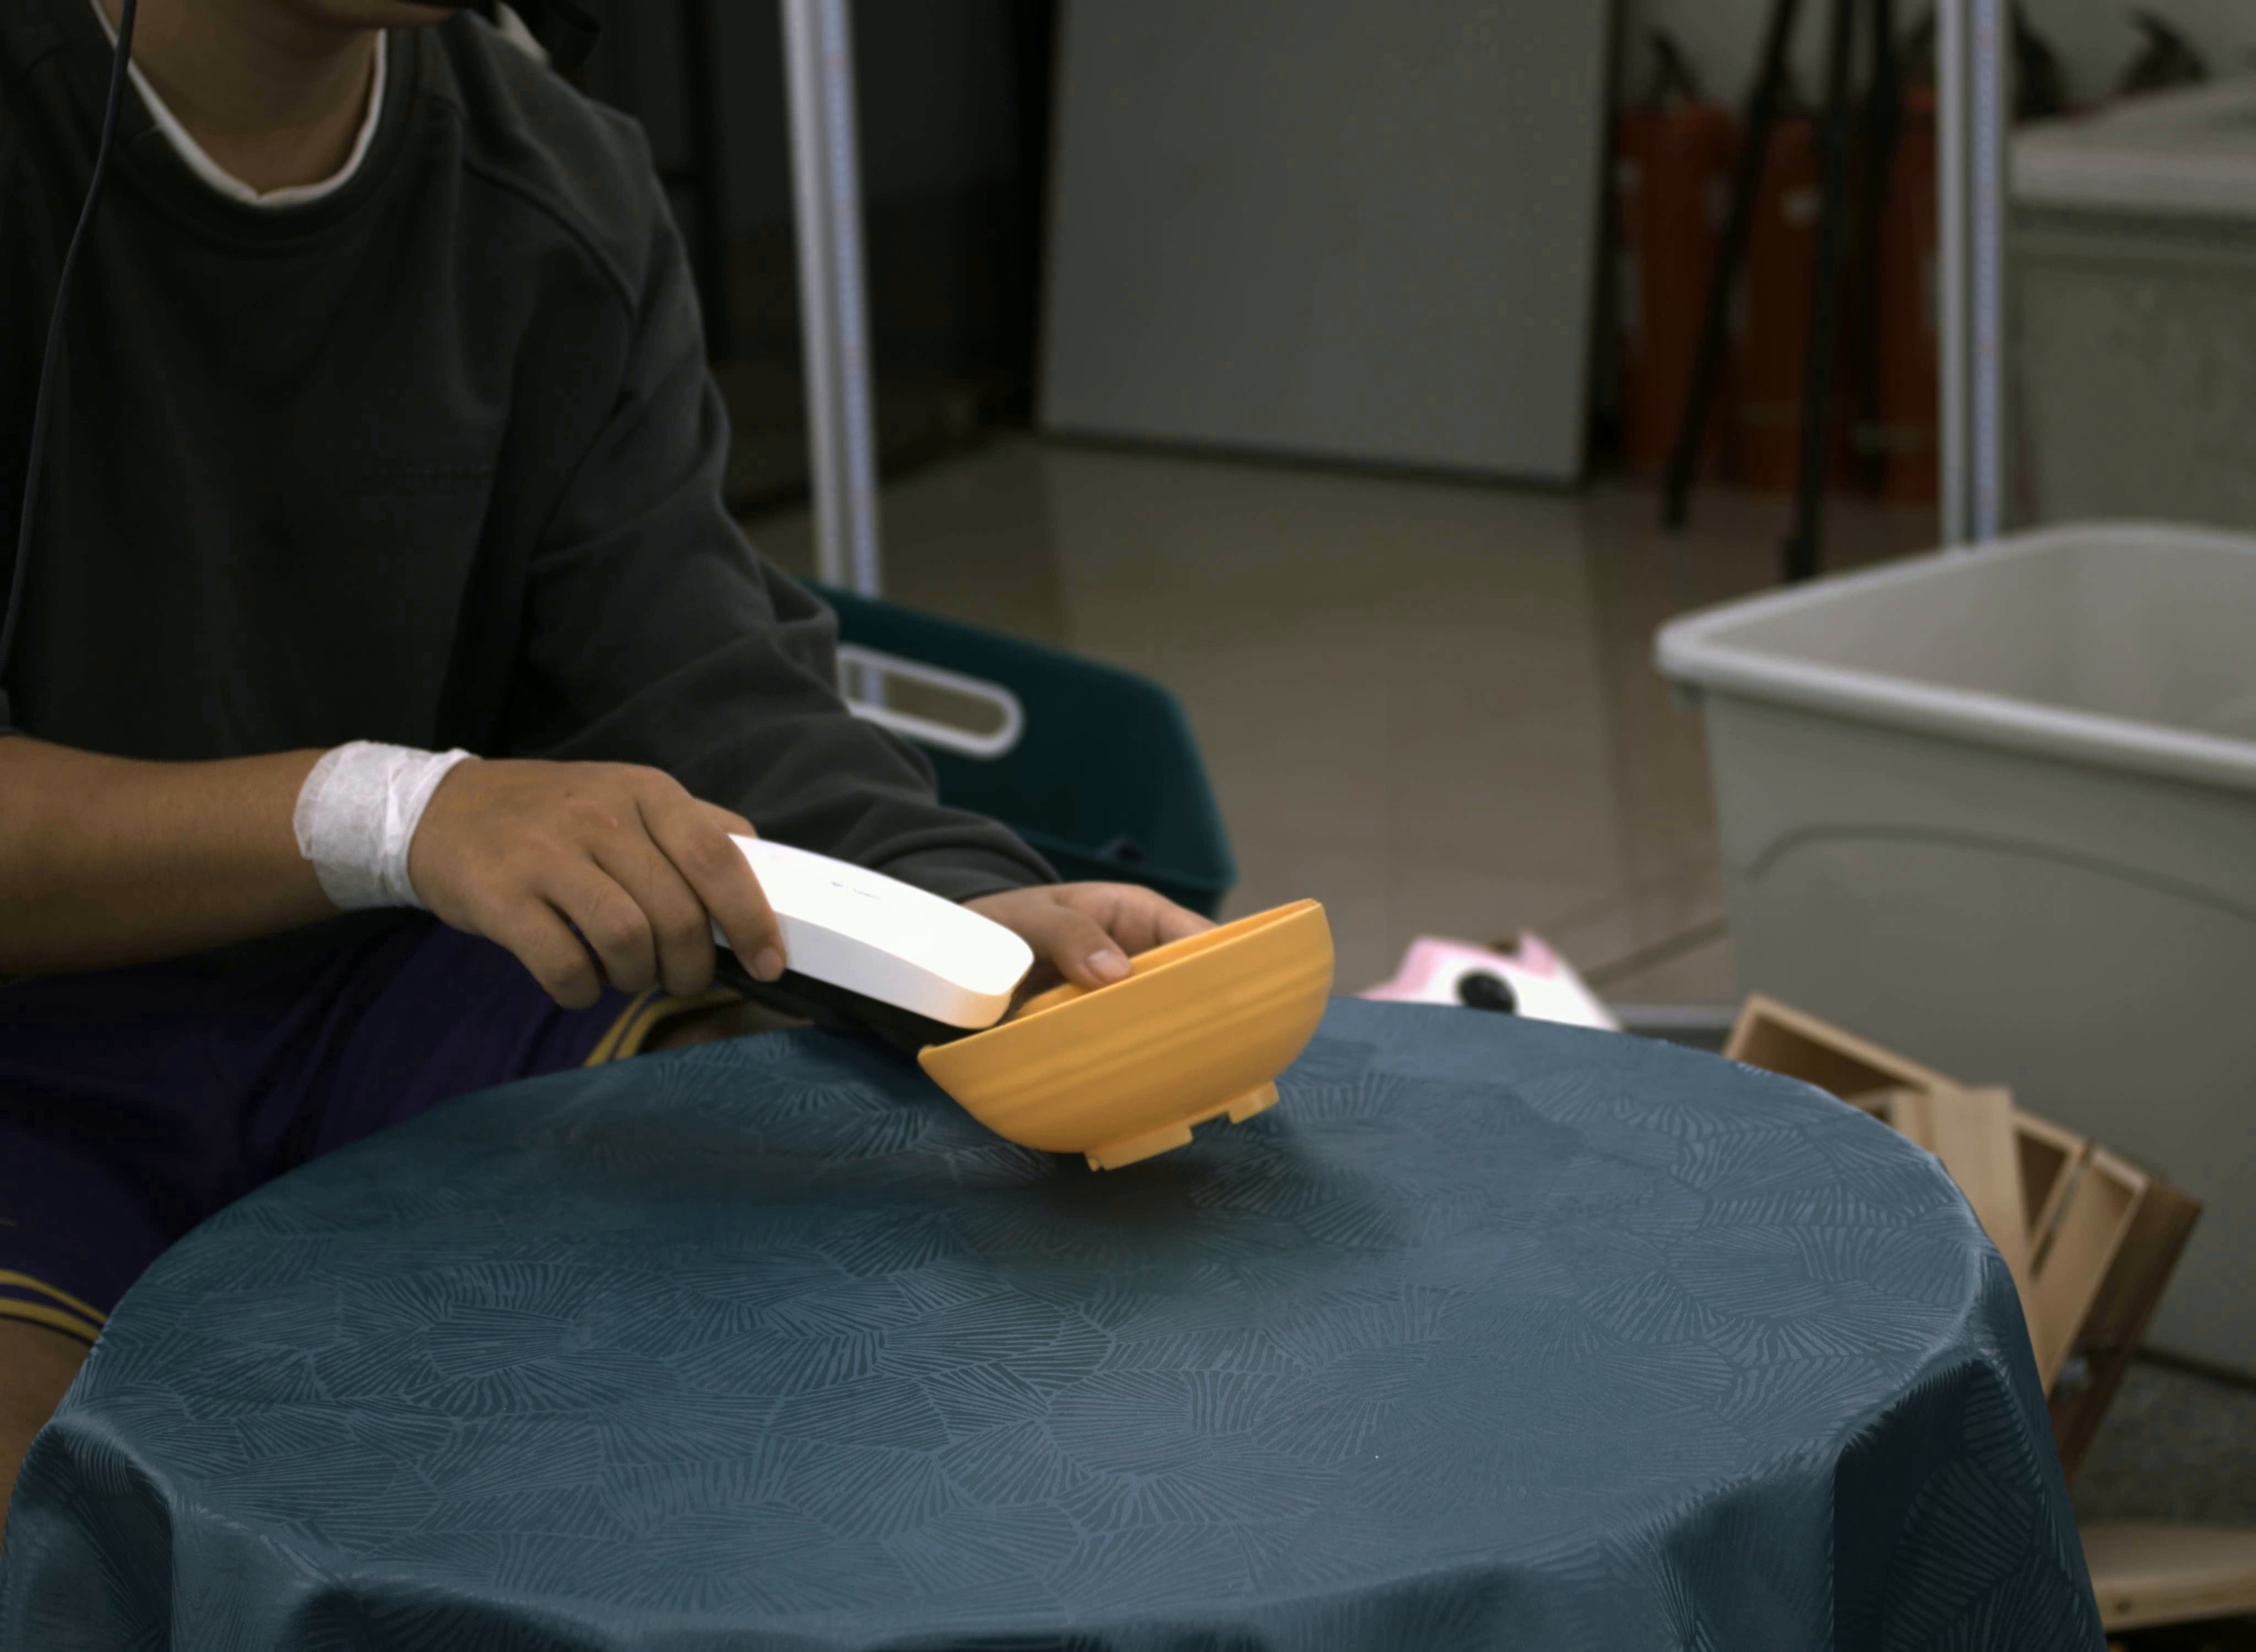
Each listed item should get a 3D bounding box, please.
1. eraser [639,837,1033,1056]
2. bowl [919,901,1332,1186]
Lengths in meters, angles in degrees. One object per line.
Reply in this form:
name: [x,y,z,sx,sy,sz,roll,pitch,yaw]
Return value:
eraser: [-0.097,0.037,1.799,0.131,0.035,0.063,20,20,11]
bowl: [0.009,0.077,1.756,0.144,0.061,0.145,-22,-3,-2]
